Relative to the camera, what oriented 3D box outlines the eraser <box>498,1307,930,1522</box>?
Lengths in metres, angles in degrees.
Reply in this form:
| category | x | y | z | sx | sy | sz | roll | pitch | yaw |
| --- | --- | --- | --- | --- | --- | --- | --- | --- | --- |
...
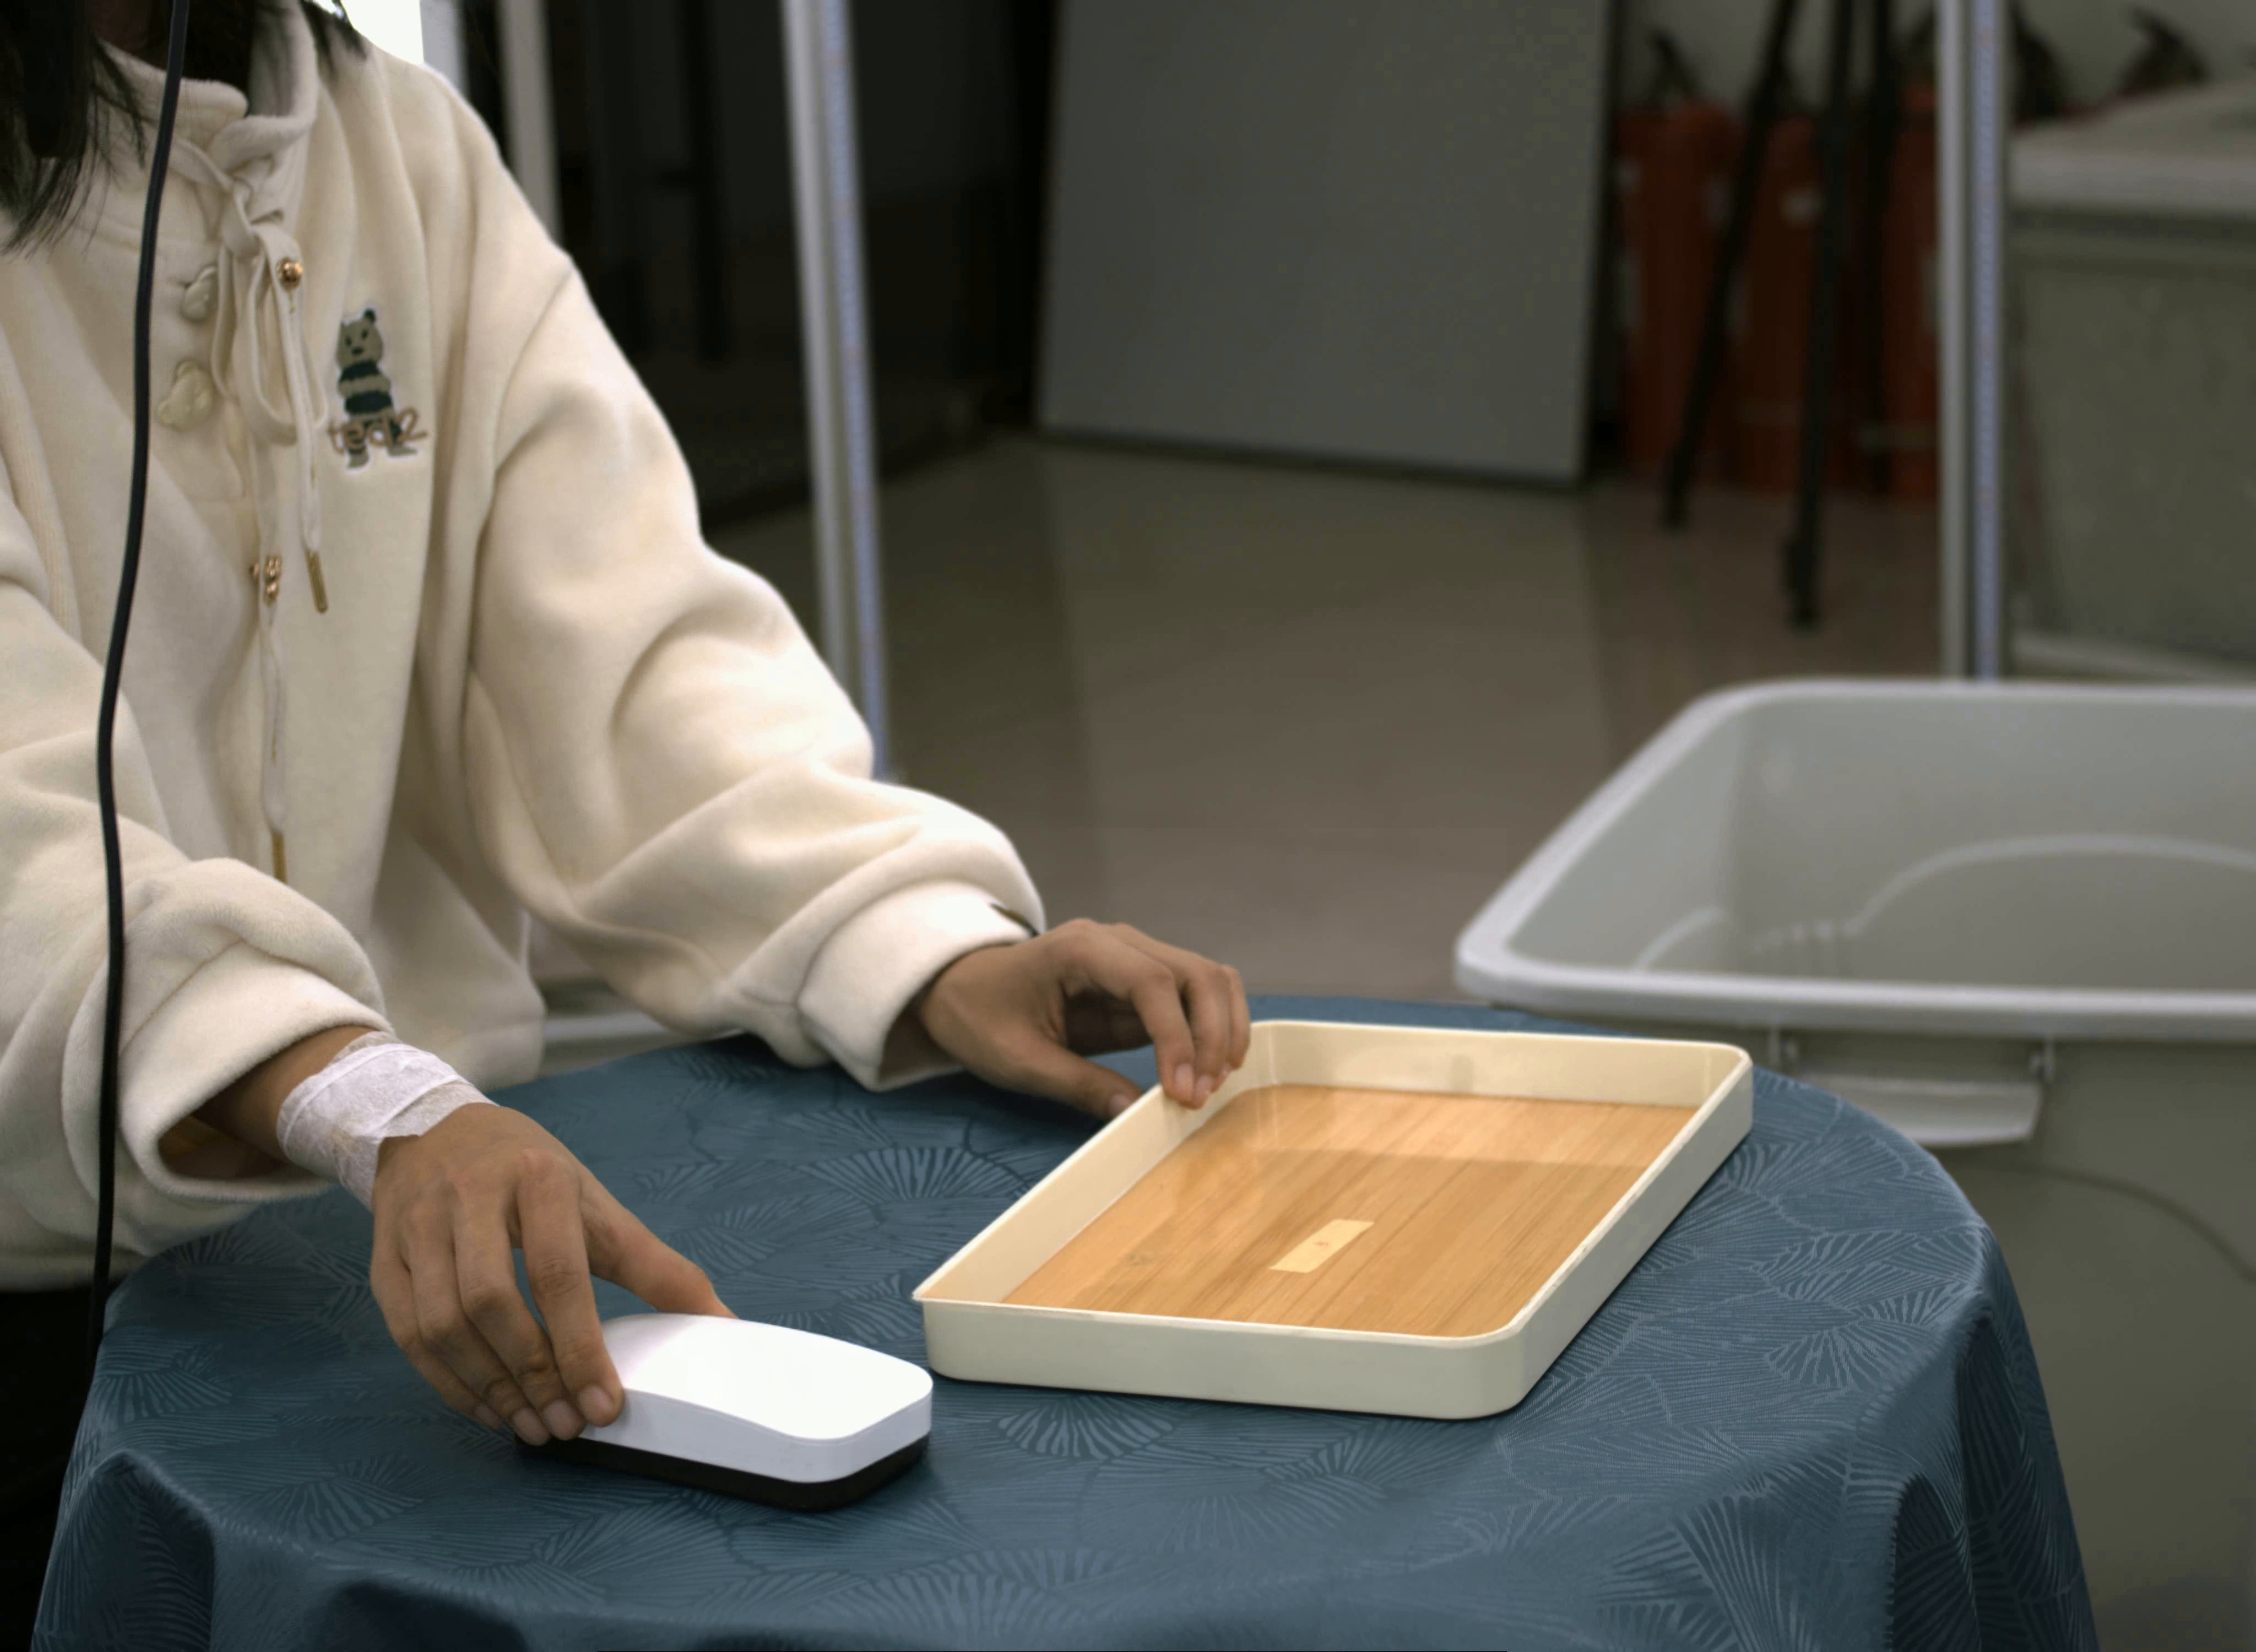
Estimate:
| category | x | y | z | sx | sy | sz | roll | pitch | yaw |
| --- | --- | --- | --- | --- | --- | --- | --- | --- | --- |
| eraser | -0.118 | 0.167 | 1.553 | 0.132 | 0.035 | 0.062 | 7 | 19 | 39 |

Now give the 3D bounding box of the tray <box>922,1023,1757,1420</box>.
| category | x | y | z | sx | sy | sz | roll | pitch | yaw |
| --- | --- | --- | --- | --- | --- | --- | --- | --- | --- |
| tray | 0.074 | 0.120 | 1.697 | 0.191 | 0.028 | 0.297 | 2 | 15 | 22 |
